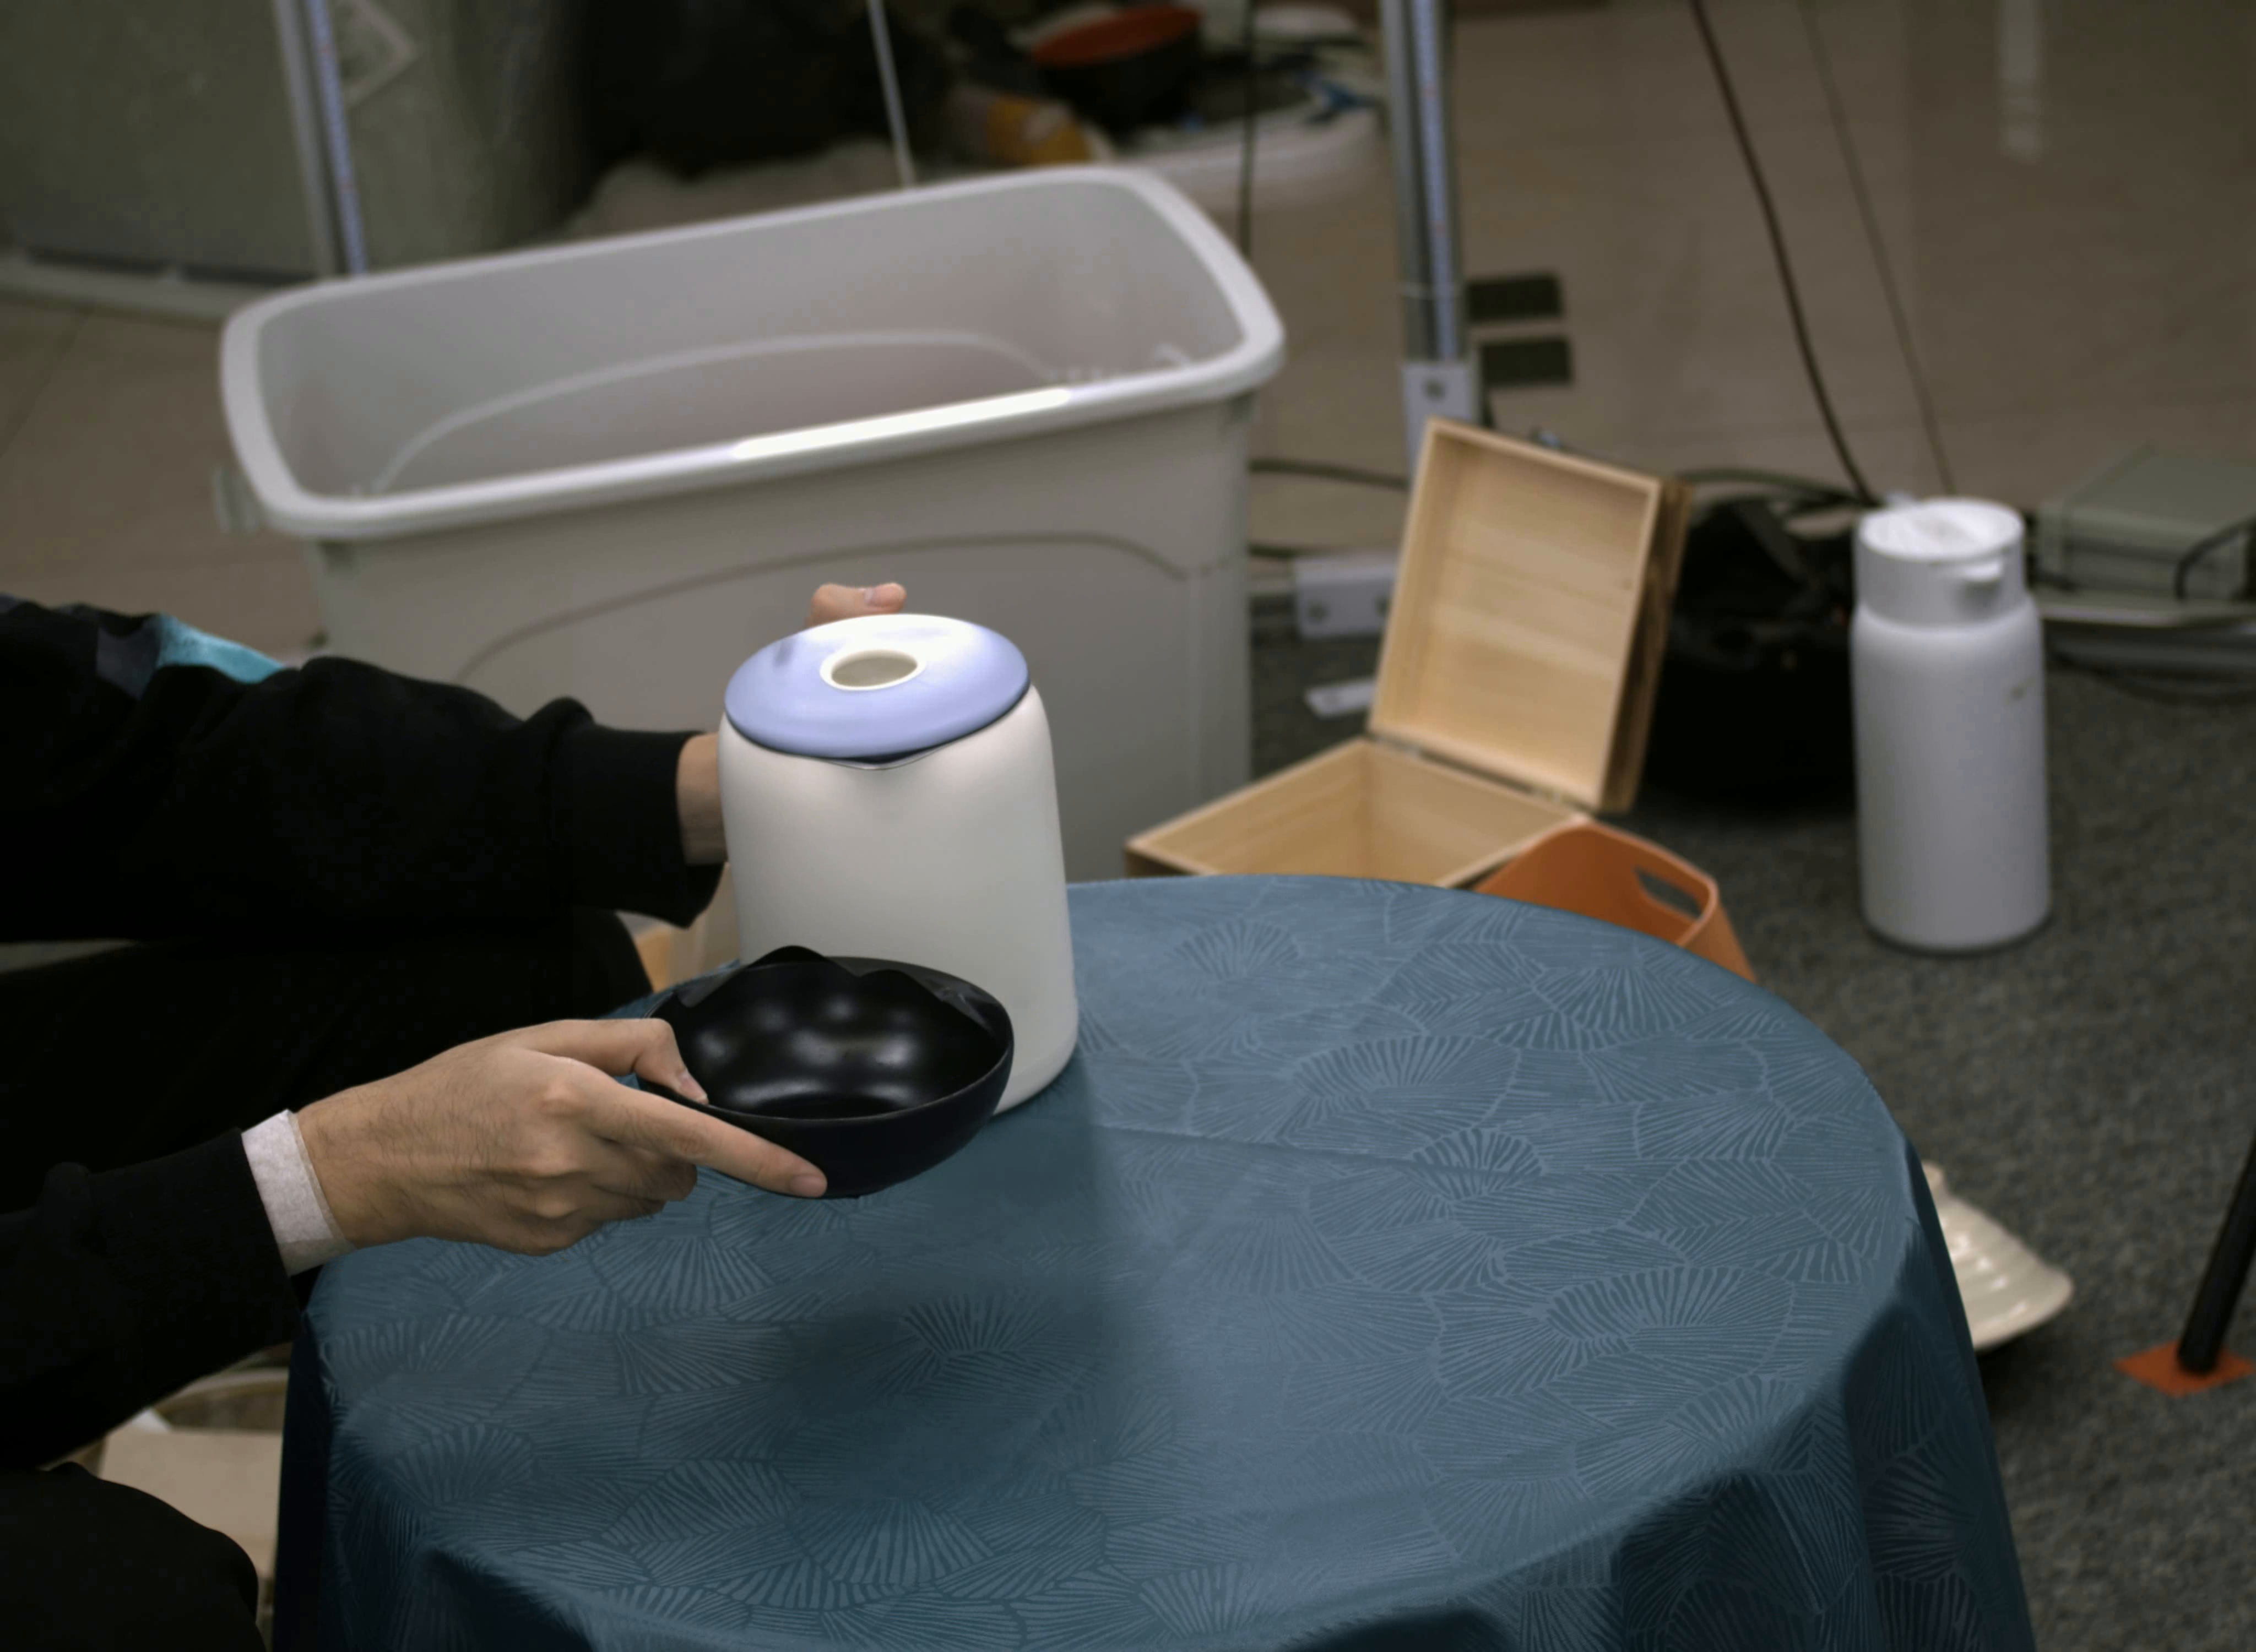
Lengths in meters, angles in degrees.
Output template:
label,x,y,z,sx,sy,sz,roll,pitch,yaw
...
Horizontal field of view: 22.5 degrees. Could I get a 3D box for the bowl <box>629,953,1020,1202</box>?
label,x,y,z,sx,sy,sz,roll,pitch,yaw
bowl,-0.108,0.097,2.036,0.140,0.050,0.138,-2,25,1

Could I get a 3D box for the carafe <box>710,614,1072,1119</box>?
label,x,y,z,sx,sy,sz,roll,pitch,yaw
carafe,-0.095,0.009,2.237,0.132,0.185,0.188,-7,25,-4
